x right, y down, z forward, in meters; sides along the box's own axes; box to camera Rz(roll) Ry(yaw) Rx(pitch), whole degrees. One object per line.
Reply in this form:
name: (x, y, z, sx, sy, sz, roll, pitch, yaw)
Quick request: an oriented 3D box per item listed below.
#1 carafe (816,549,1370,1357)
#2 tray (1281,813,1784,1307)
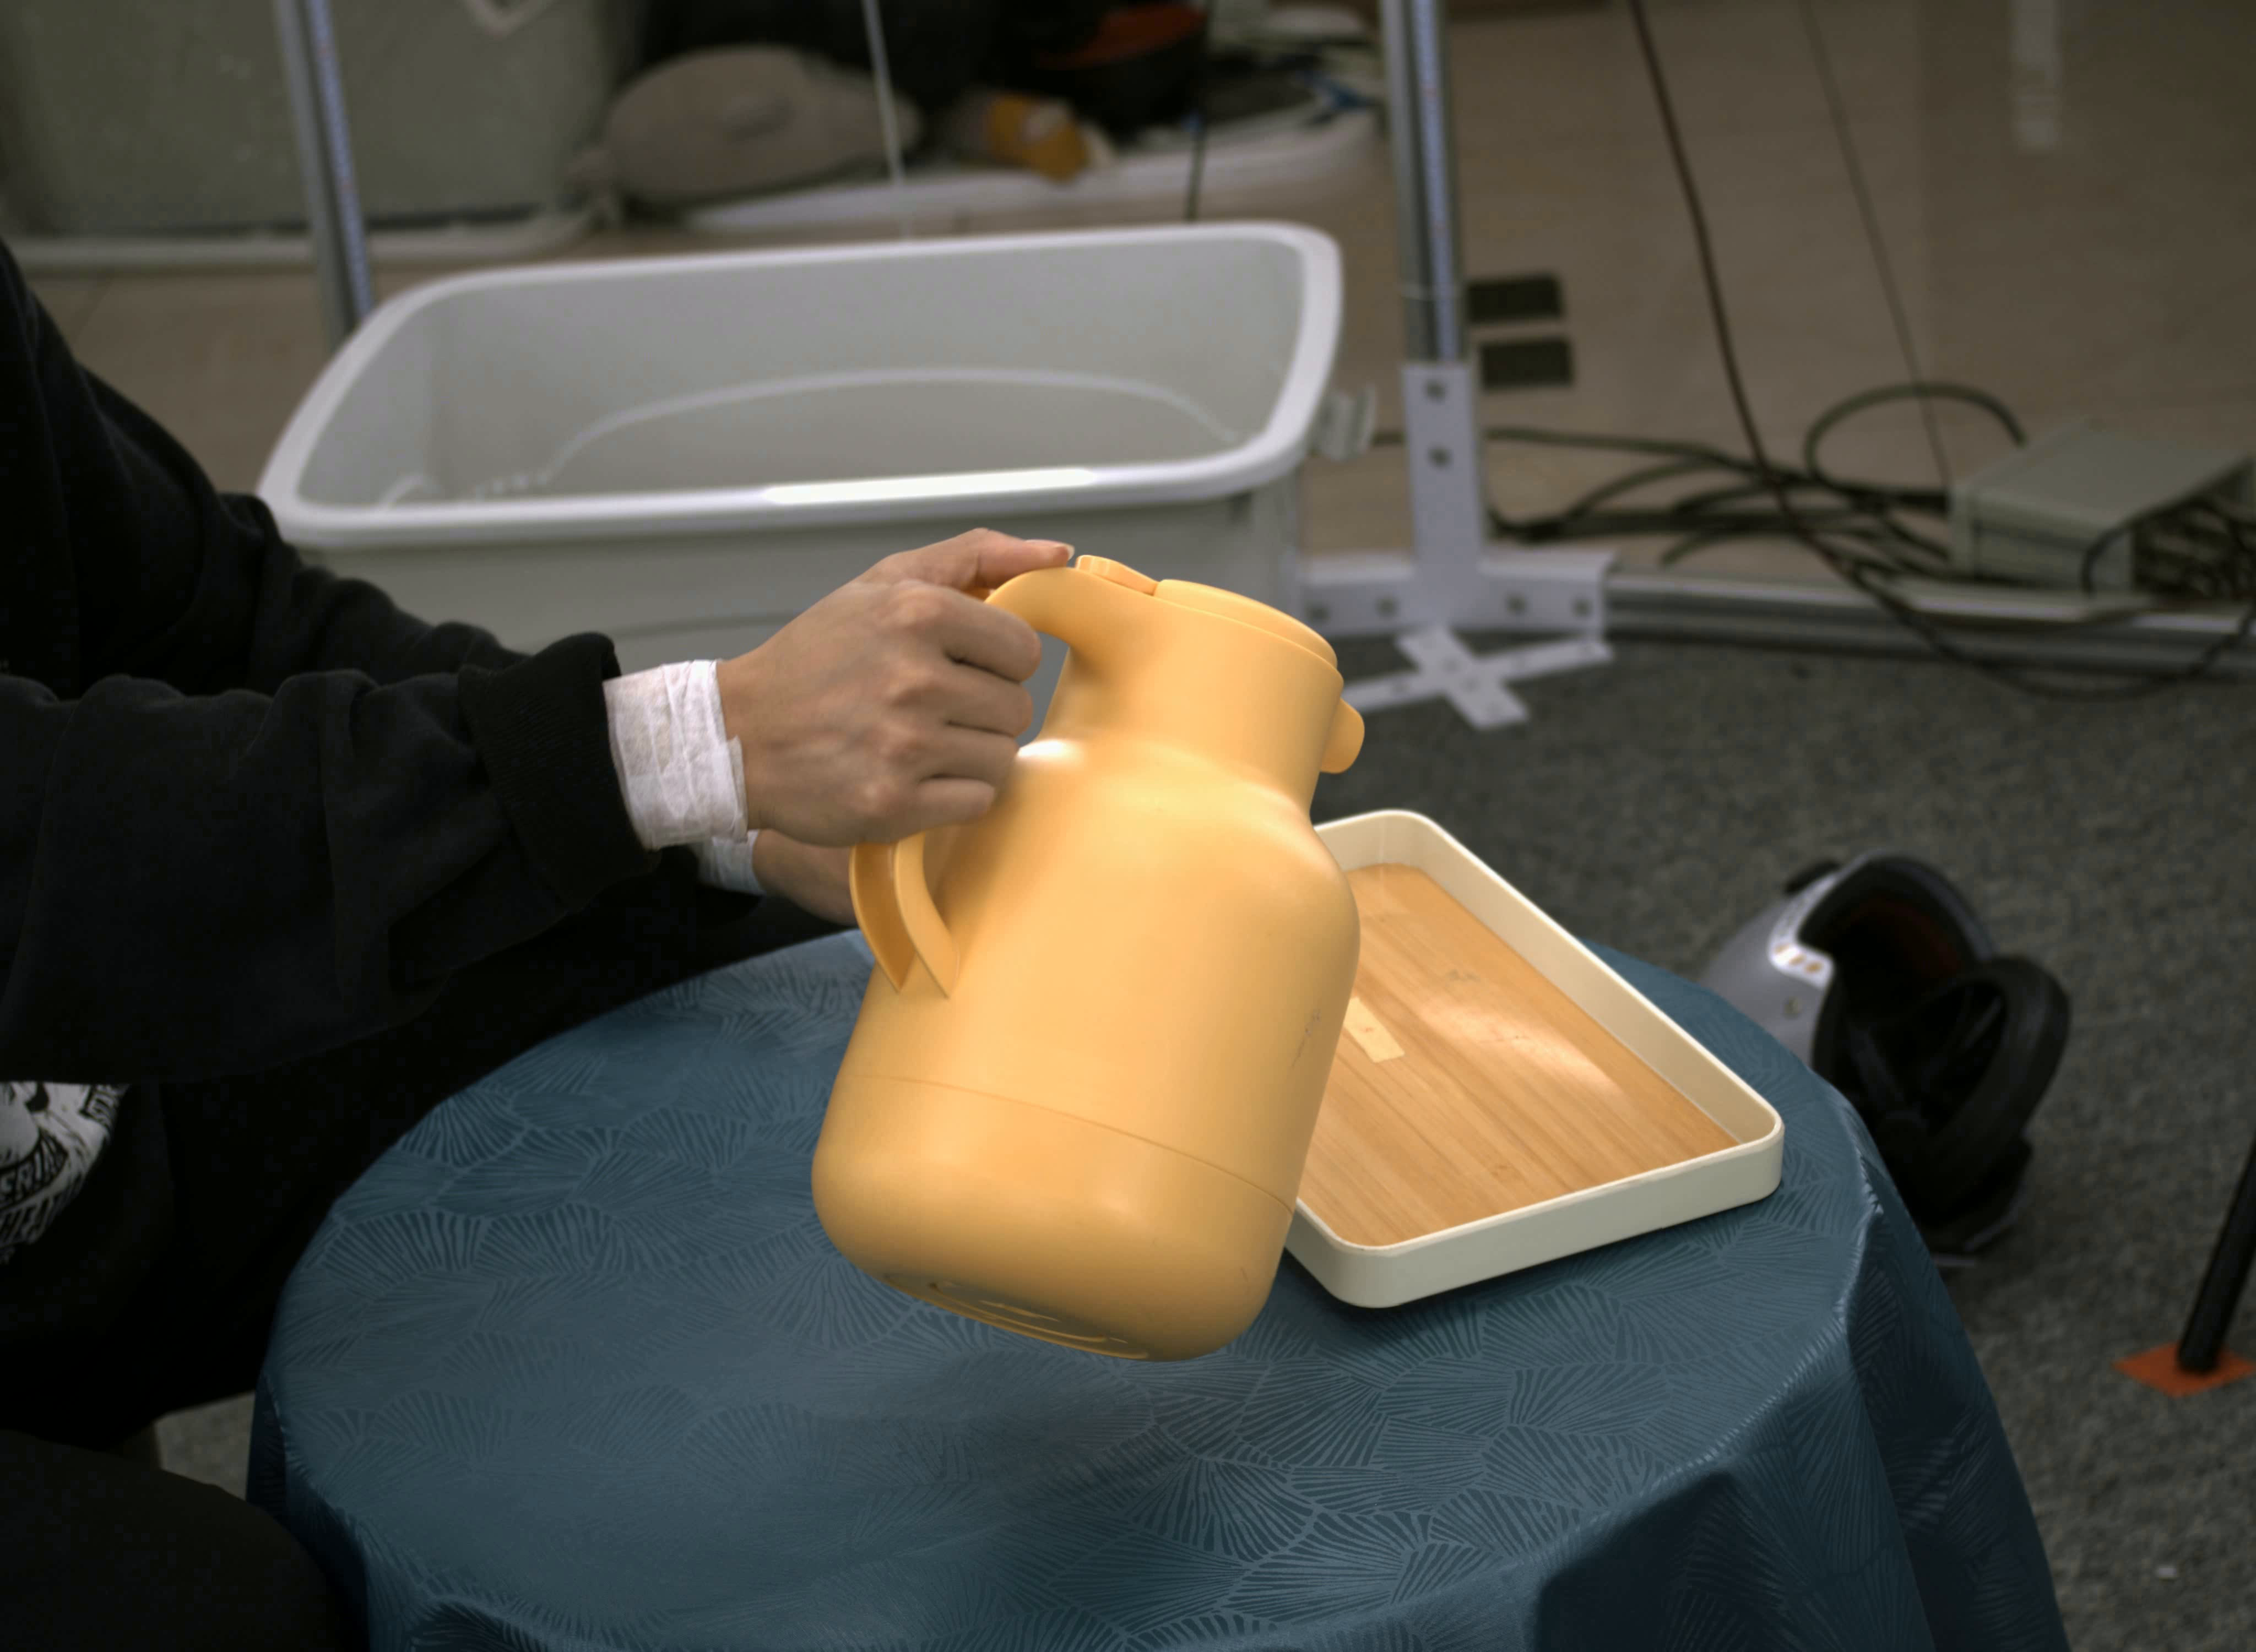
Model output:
carafe: (-0.016, 0.036, 1.941, 0.204, 0.259, 0.163, 26, -16, -37)
tray: (0.098, 0.084, 2.173, 0.191, 0.028, 0.296, -14, 31, -23)
